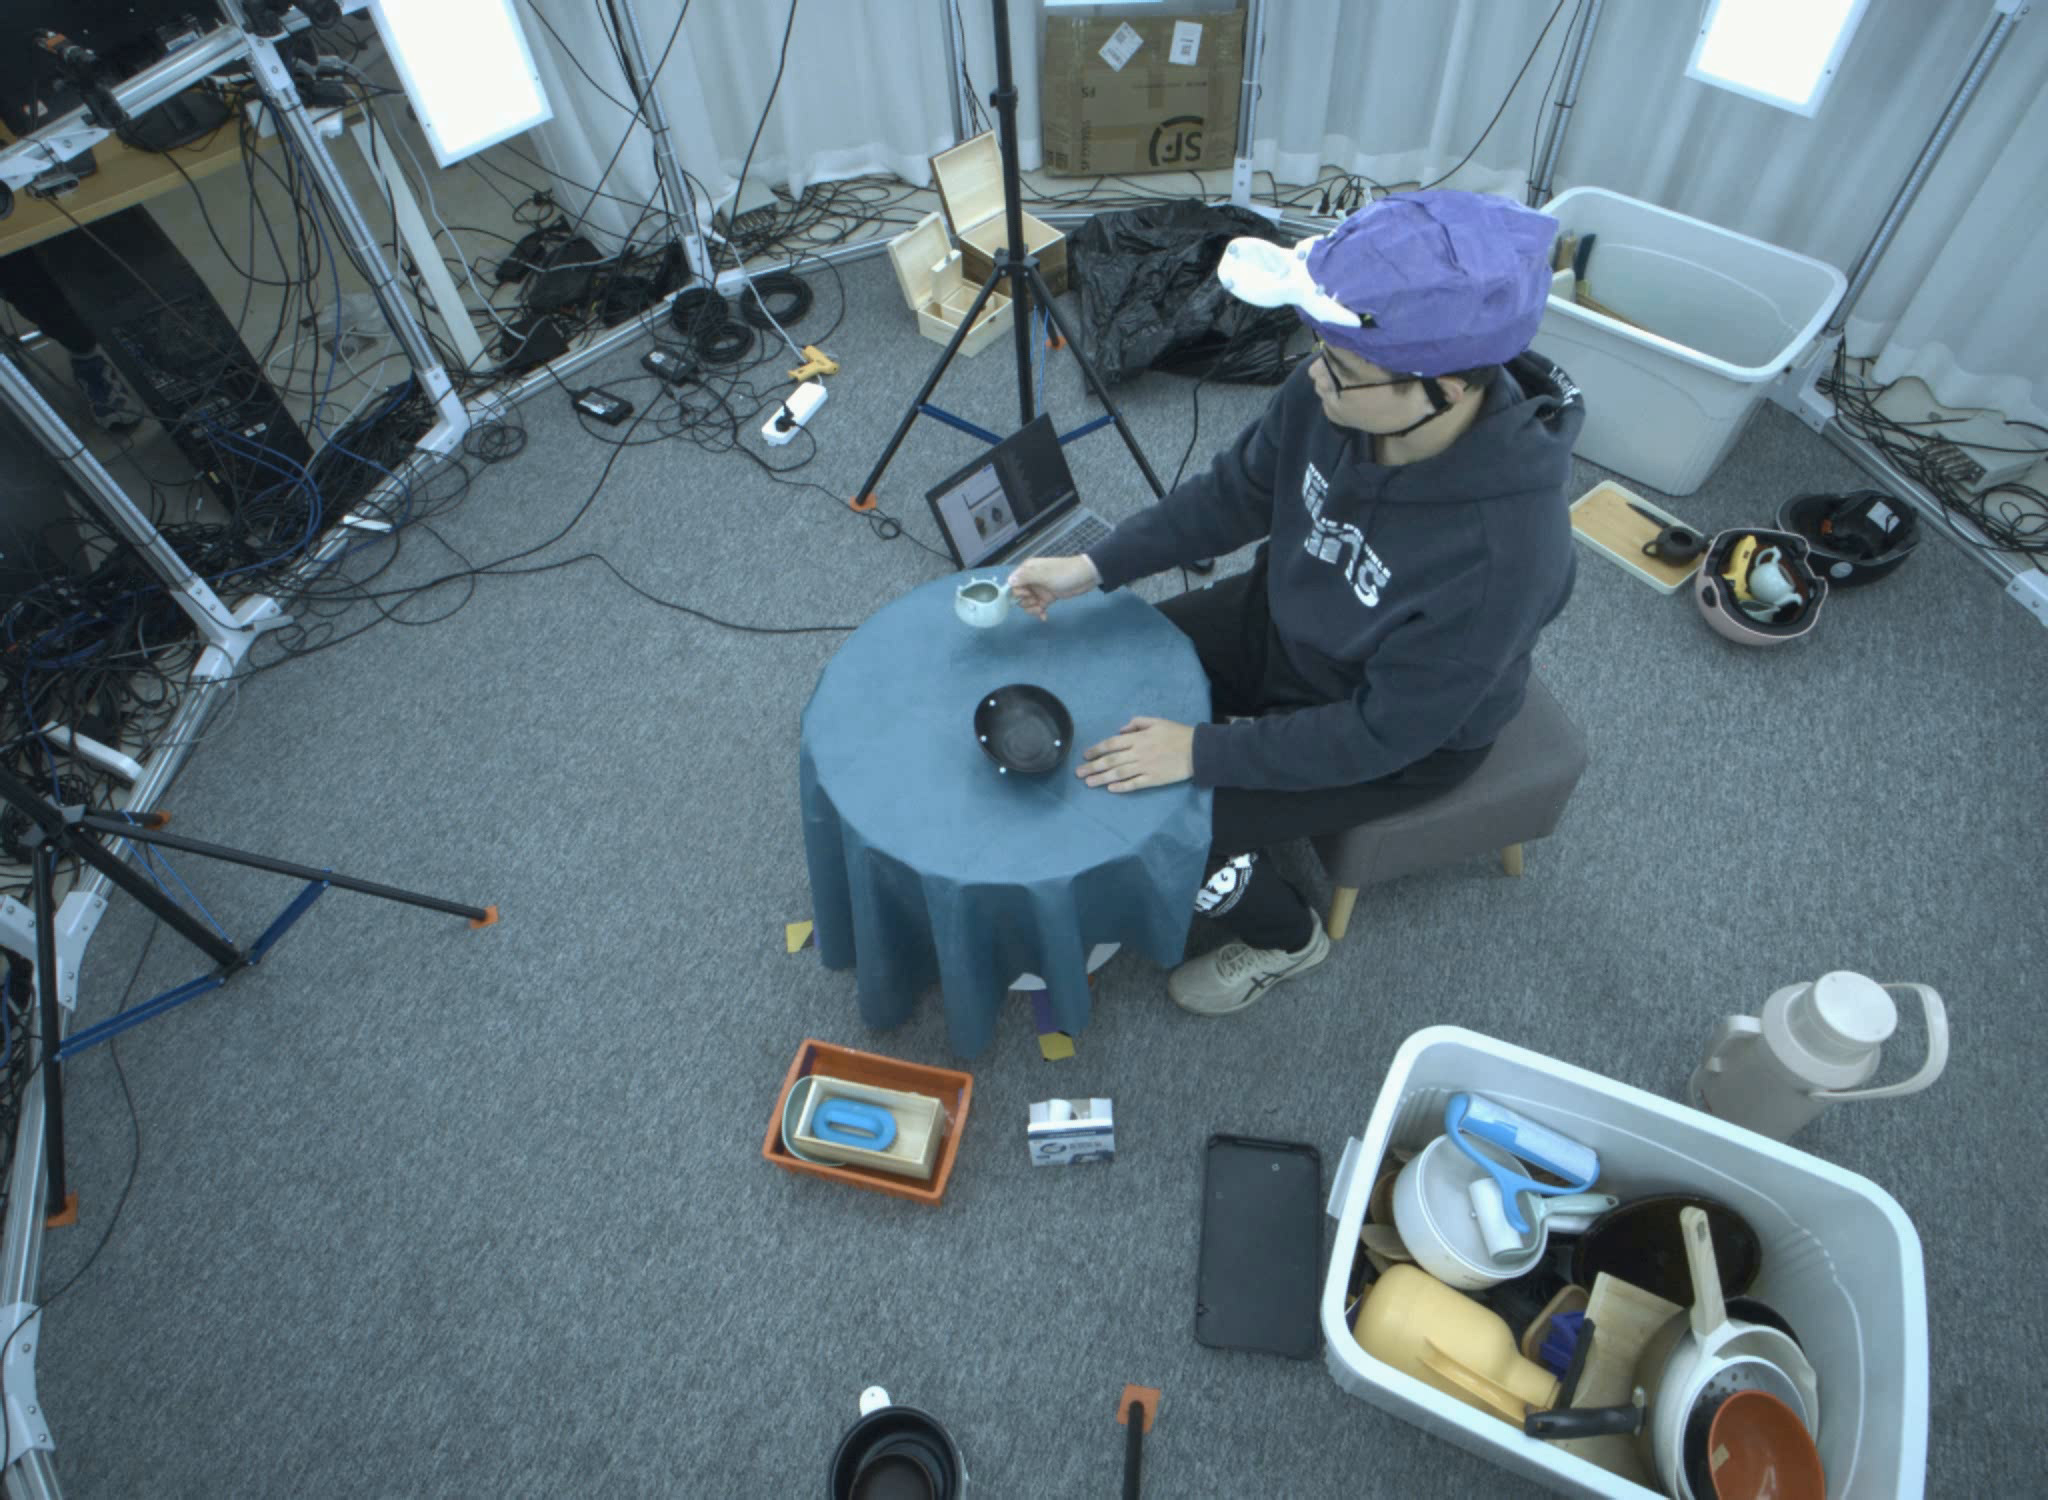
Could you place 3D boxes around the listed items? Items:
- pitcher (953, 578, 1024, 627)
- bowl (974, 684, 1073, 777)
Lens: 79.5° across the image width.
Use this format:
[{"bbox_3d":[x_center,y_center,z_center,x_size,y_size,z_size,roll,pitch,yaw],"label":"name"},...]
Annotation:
[{"bbox_3d":[-0.054,-0.229,1.861,0.109,0.061,0.084,-11,58,-15],"label":"pitcher"},{"bbox_3d":[-0.002,-0.019,1.763,0.138,0.067,0.167,-20,56,-13],"label":"bowl"}]
